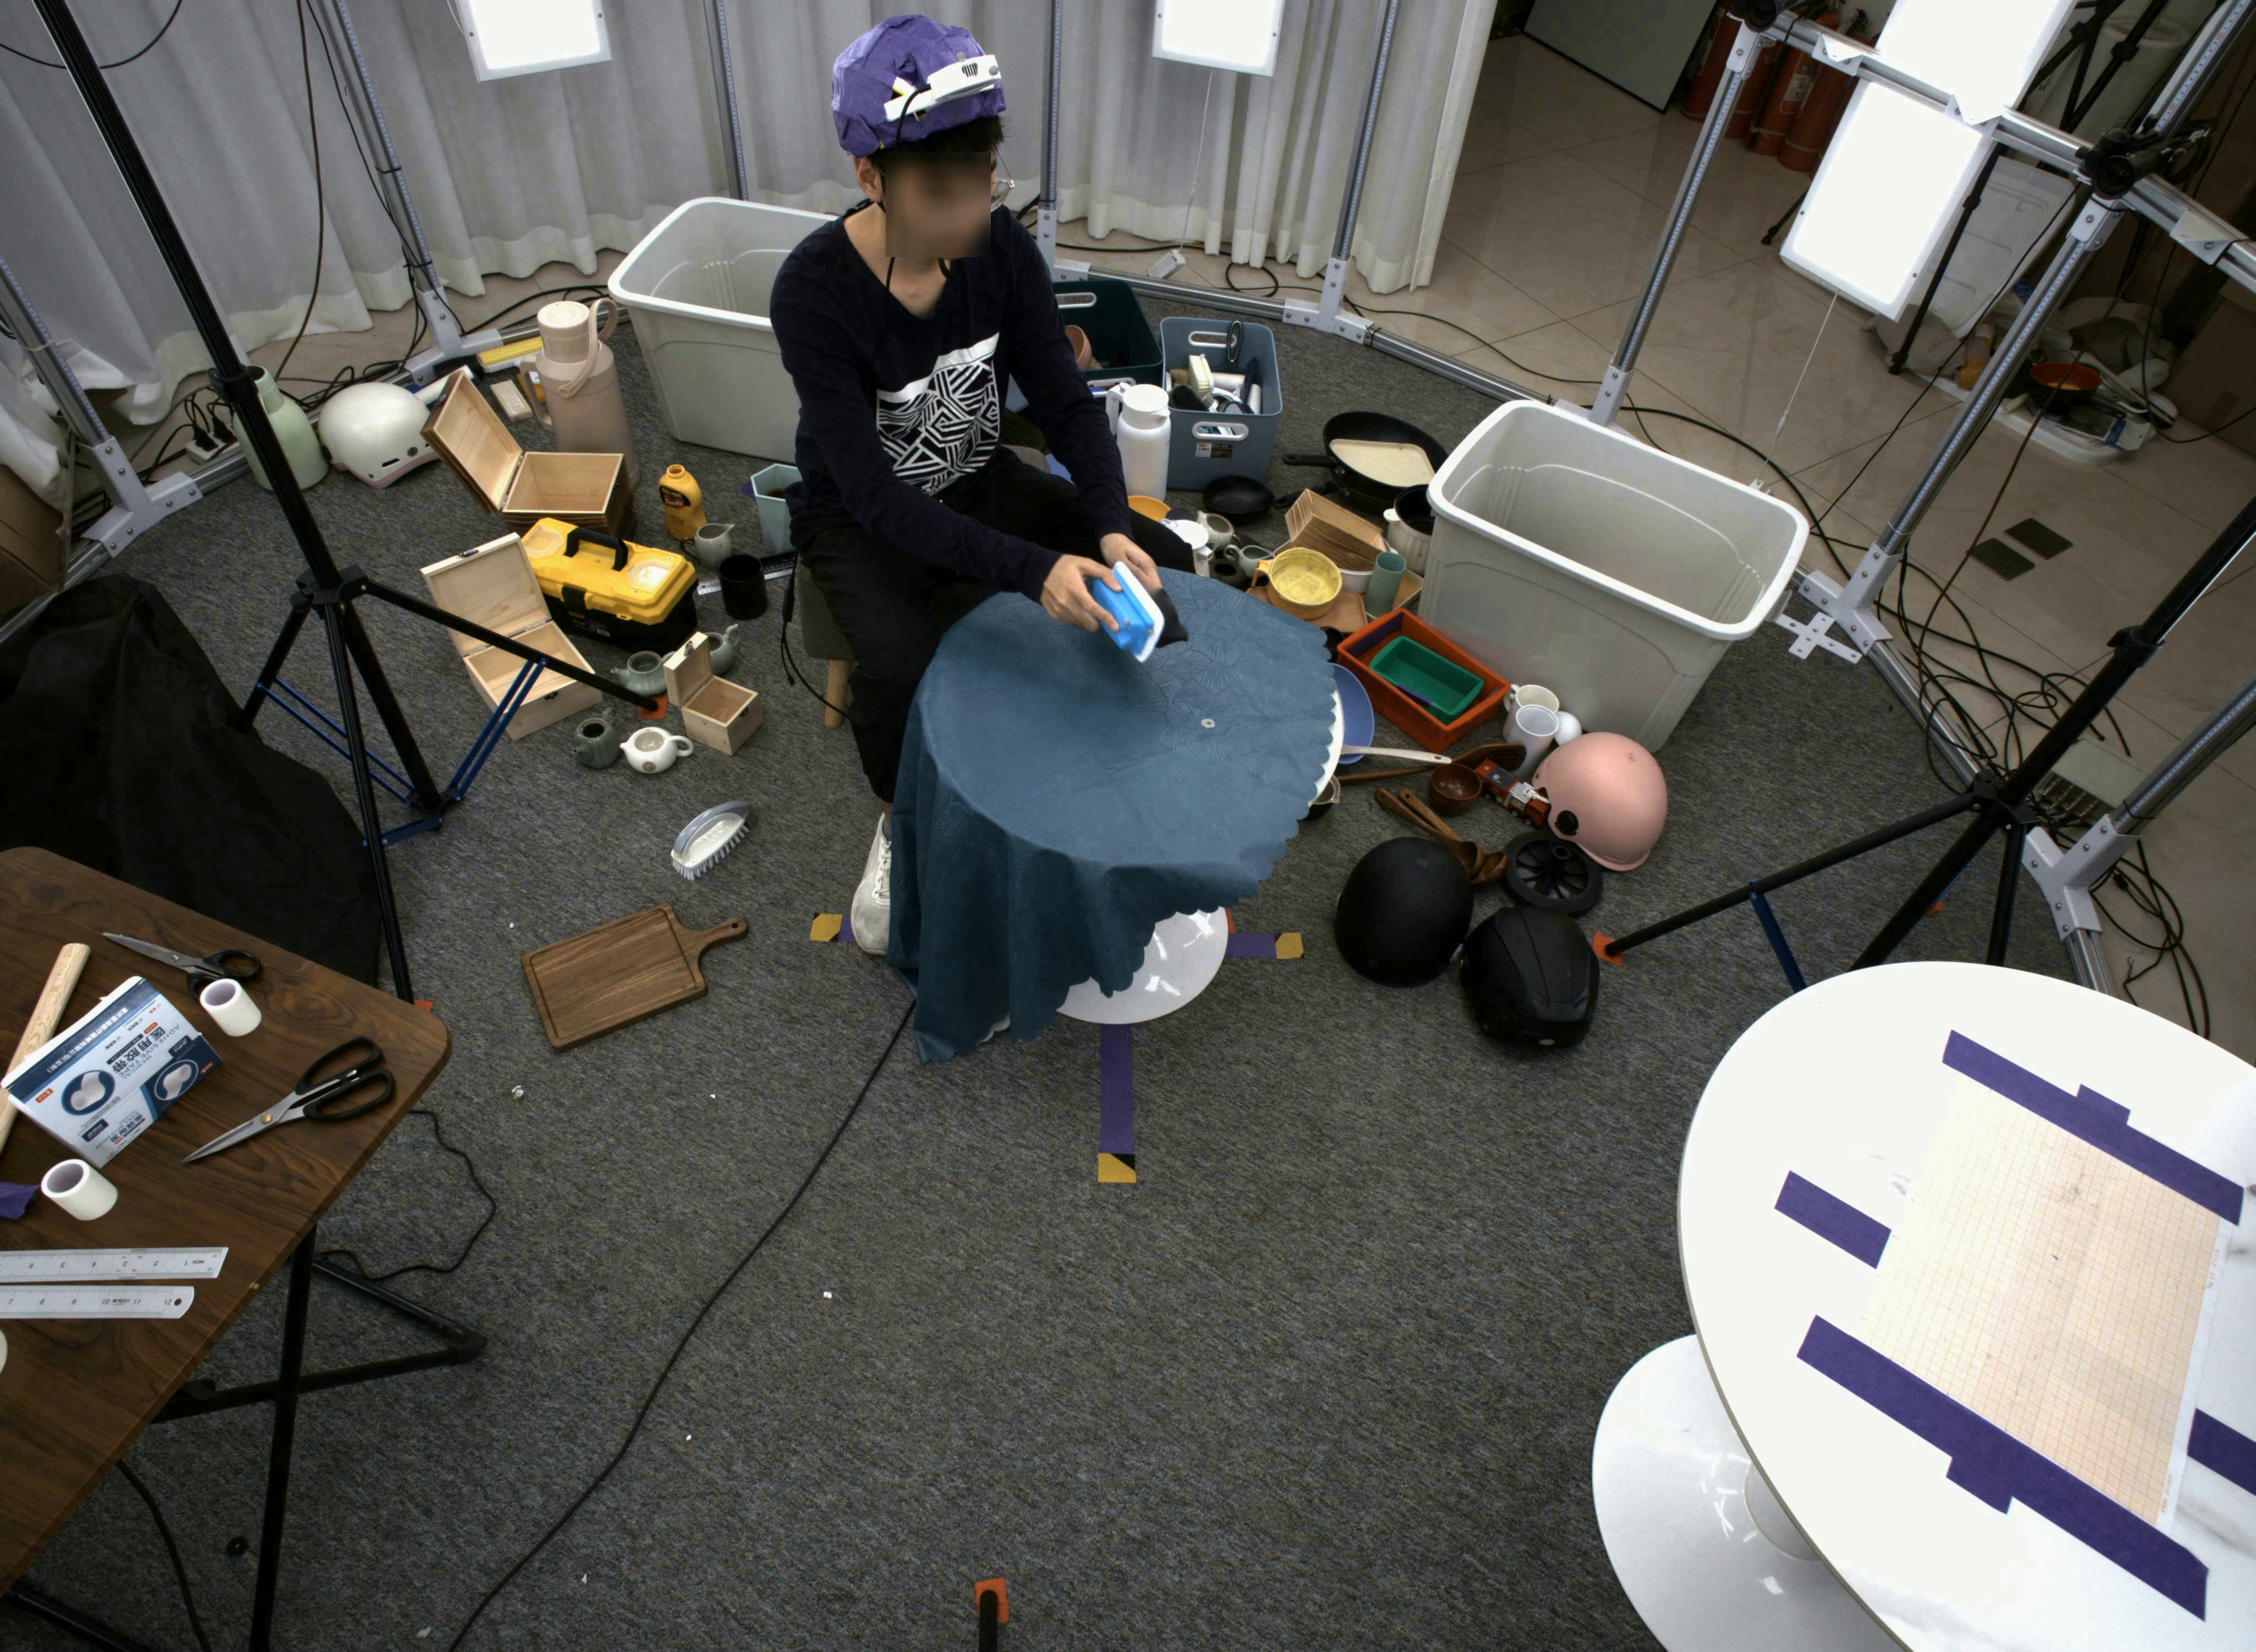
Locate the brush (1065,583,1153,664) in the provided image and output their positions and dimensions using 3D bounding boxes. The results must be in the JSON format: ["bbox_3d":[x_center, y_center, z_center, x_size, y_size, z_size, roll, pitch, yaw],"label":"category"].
[{"bbox_3d":[-0.035,-0.279,1.753,0.146,0.083,0.055,29,17,37],"label":"brush"}]

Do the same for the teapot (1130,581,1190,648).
[{"bbox_3d":[0.038,-0.293,1.785,0.053,0.089,0.136,-23,53,-6],"label":"teapot"}]
